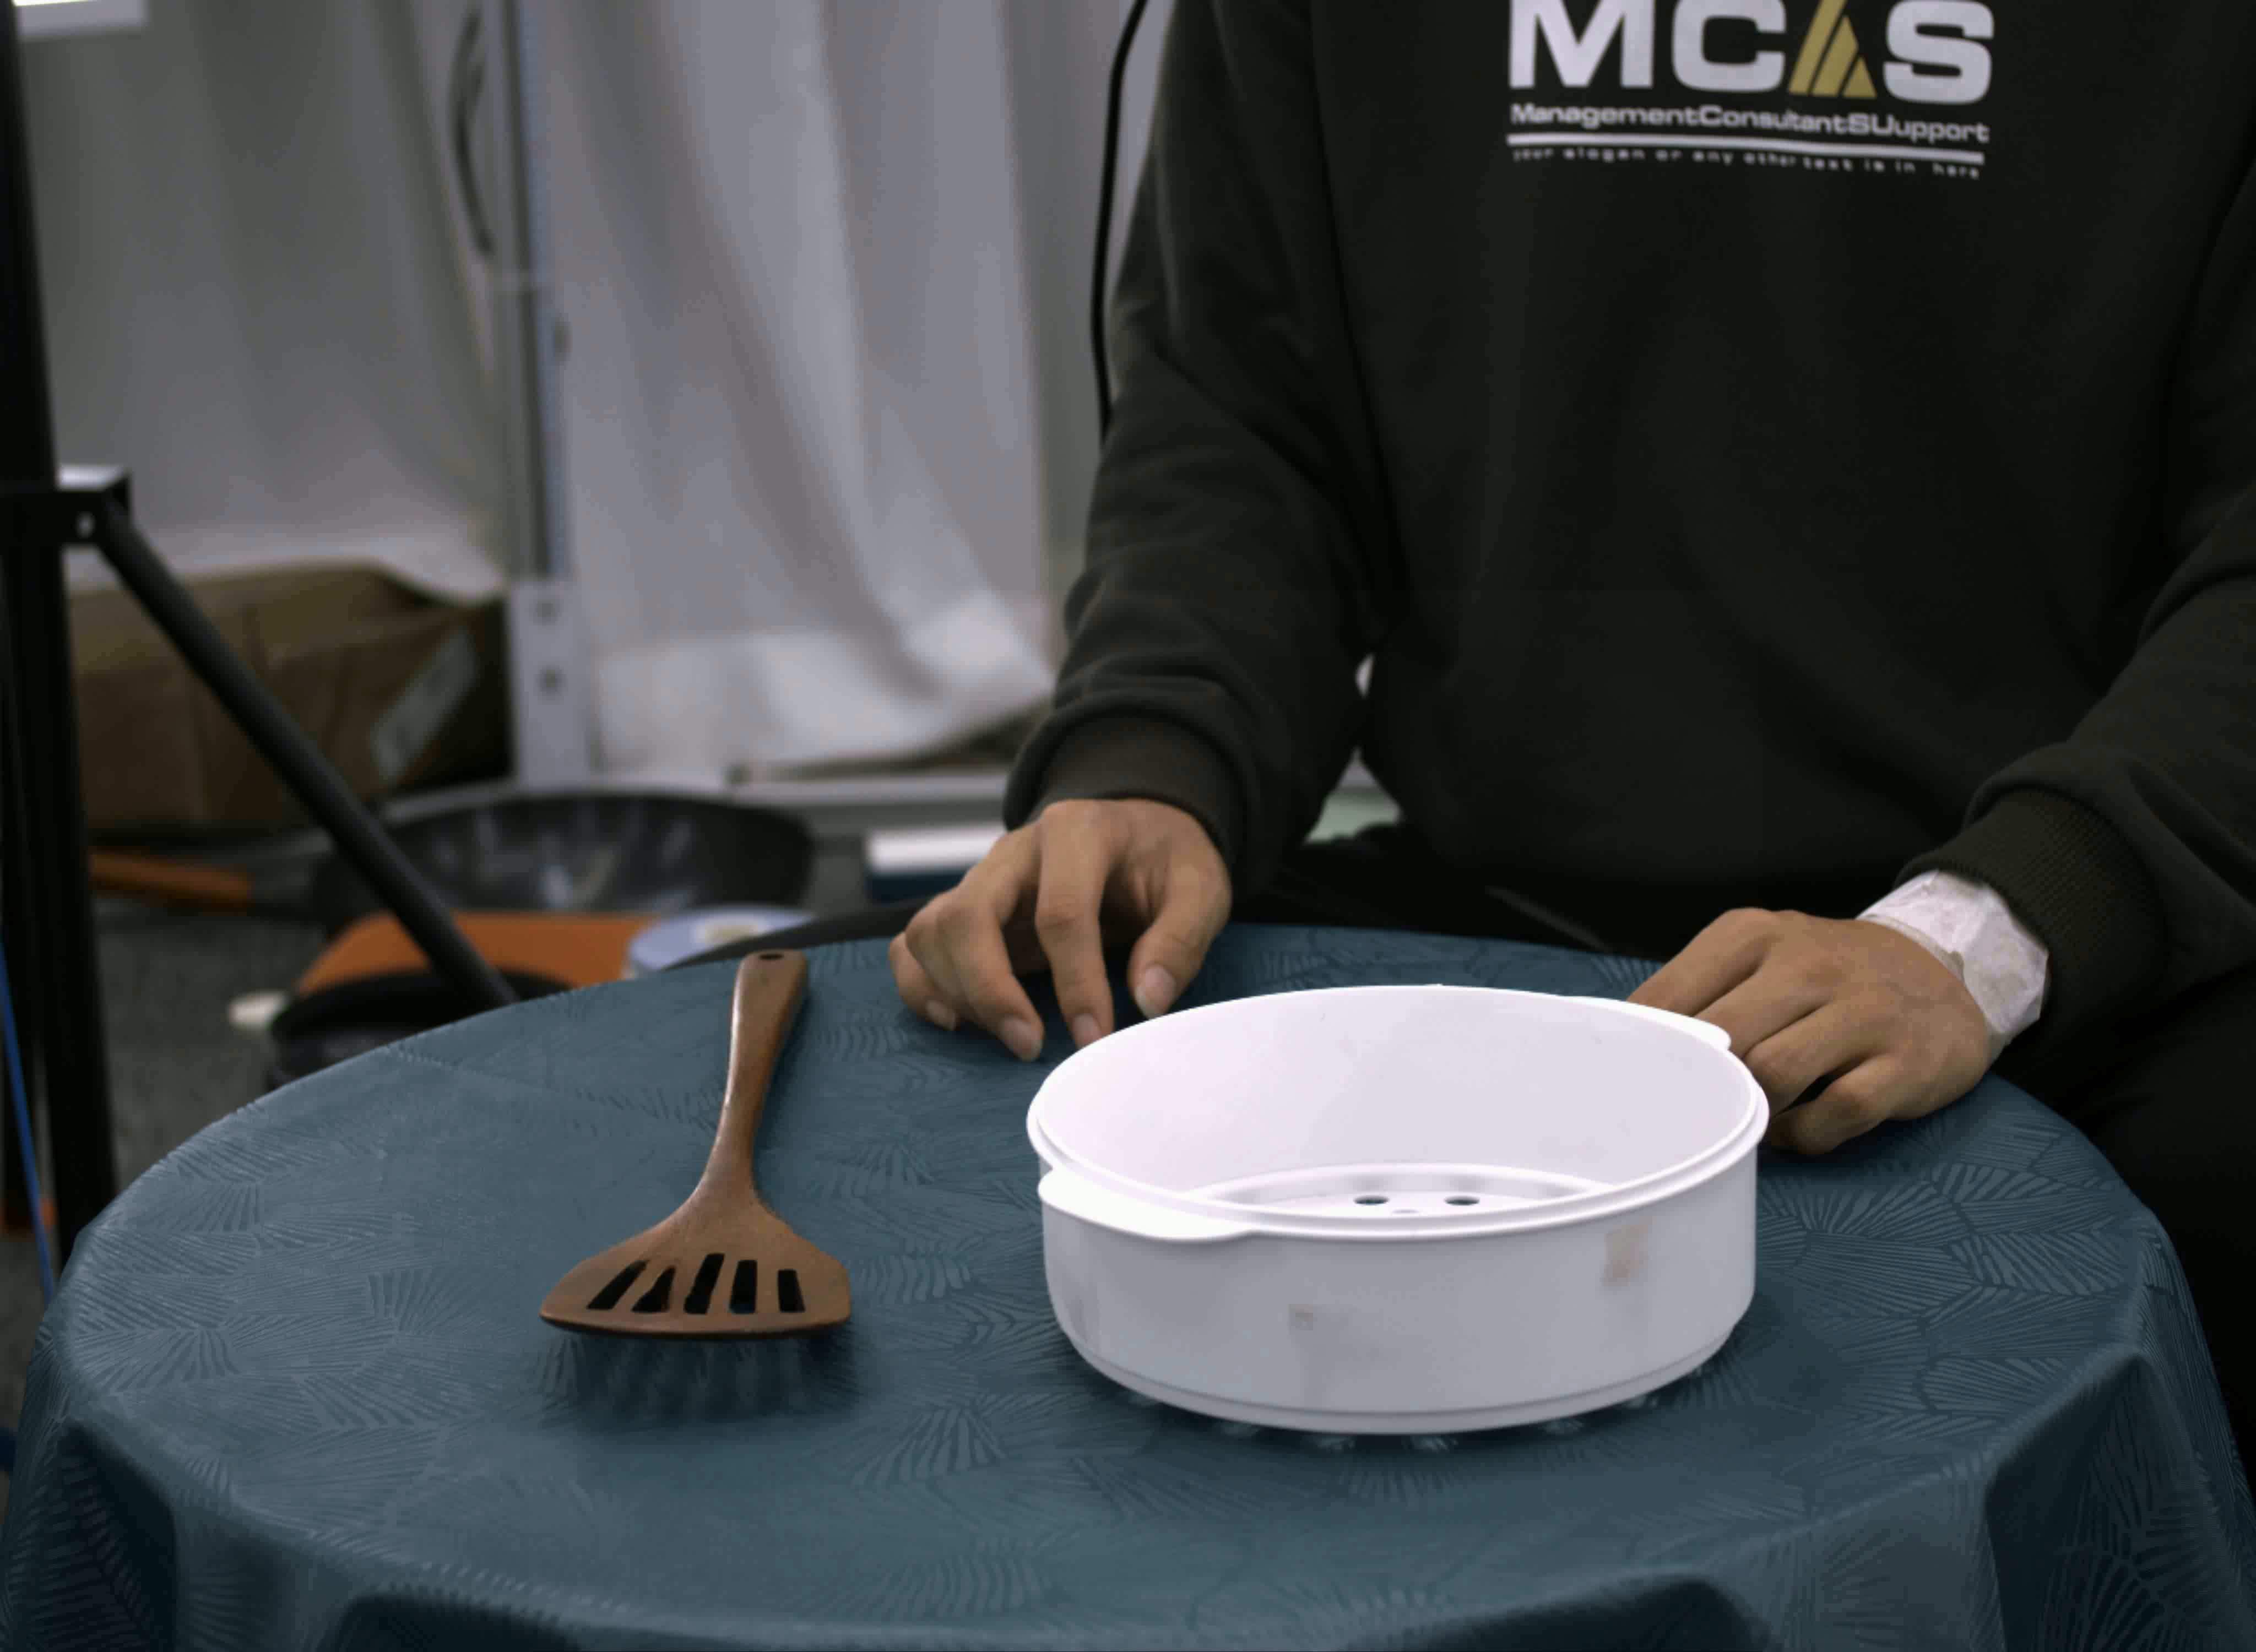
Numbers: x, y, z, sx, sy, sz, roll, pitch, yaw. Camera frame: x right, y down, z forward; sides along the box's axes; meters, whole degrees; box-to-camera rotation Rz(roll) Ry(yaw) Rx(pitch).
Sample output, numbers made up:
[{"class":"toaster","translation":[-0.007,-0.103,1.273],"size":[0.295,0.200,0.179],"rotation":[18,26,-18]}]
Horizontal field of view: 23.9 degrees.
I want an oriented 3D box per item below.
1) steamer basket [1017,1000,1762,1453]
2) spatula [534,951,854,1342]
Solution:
[{"class":"steamer basket","translation":[0.069,0.108,1.437],"size":[0.225,0.069,0.206],"rotation":[-12,21,-42]},{"class":"spatula","translation":[-0.118,0.094,1.592],"size":[0.085,0.024,0.386],"rotation":[0,15,0]}]
